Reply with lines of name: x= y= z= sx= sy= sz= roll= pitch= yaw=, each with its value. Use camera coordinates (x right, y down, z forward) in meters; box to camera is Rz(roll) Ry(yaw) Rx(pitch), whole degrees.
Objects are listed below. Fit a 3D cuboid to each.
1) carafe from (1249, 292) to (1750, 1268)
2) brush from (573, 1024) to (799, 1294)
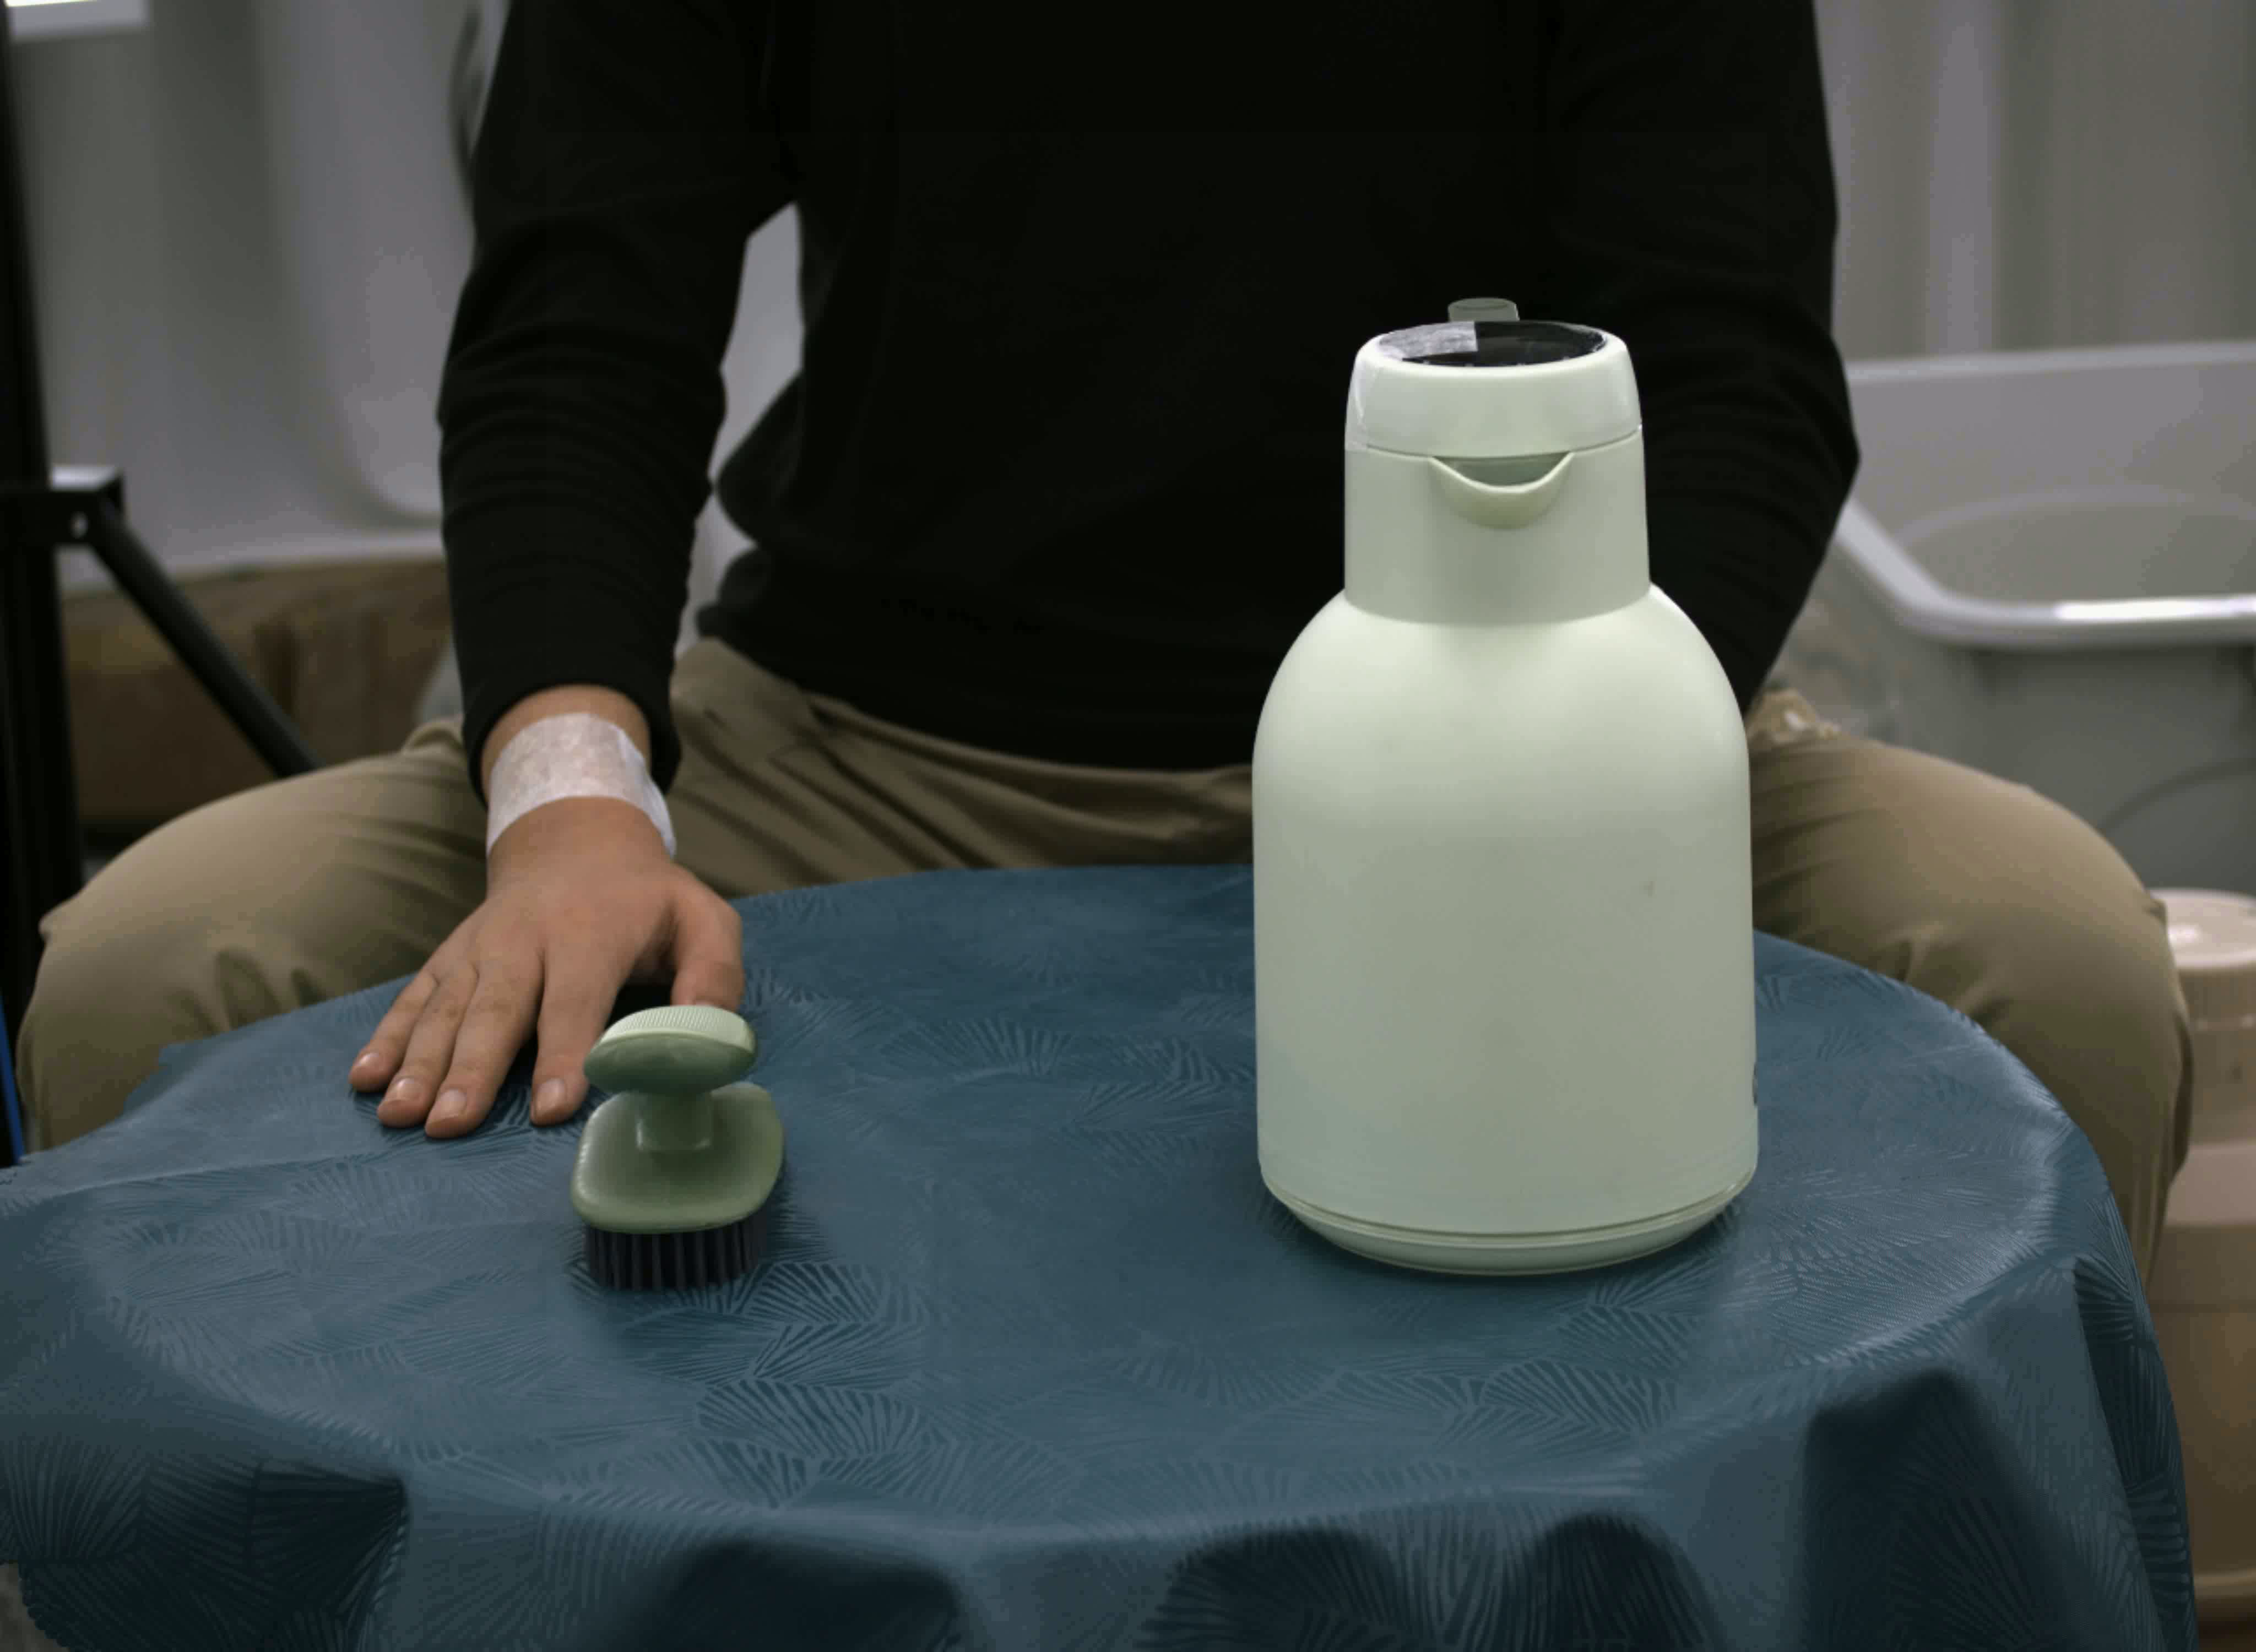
carafe: x=0.105 y=-0.018 z=1.513 sx=0.144 sy=0.257 sz=0.187 roll=-1 pitch=13 yaw=1
brush: x=-0.128 y=0.095 z=1.544 sx=0.059 sy=0.076 sz=0.122 roll=-2 pitch=-2 yaw=4
